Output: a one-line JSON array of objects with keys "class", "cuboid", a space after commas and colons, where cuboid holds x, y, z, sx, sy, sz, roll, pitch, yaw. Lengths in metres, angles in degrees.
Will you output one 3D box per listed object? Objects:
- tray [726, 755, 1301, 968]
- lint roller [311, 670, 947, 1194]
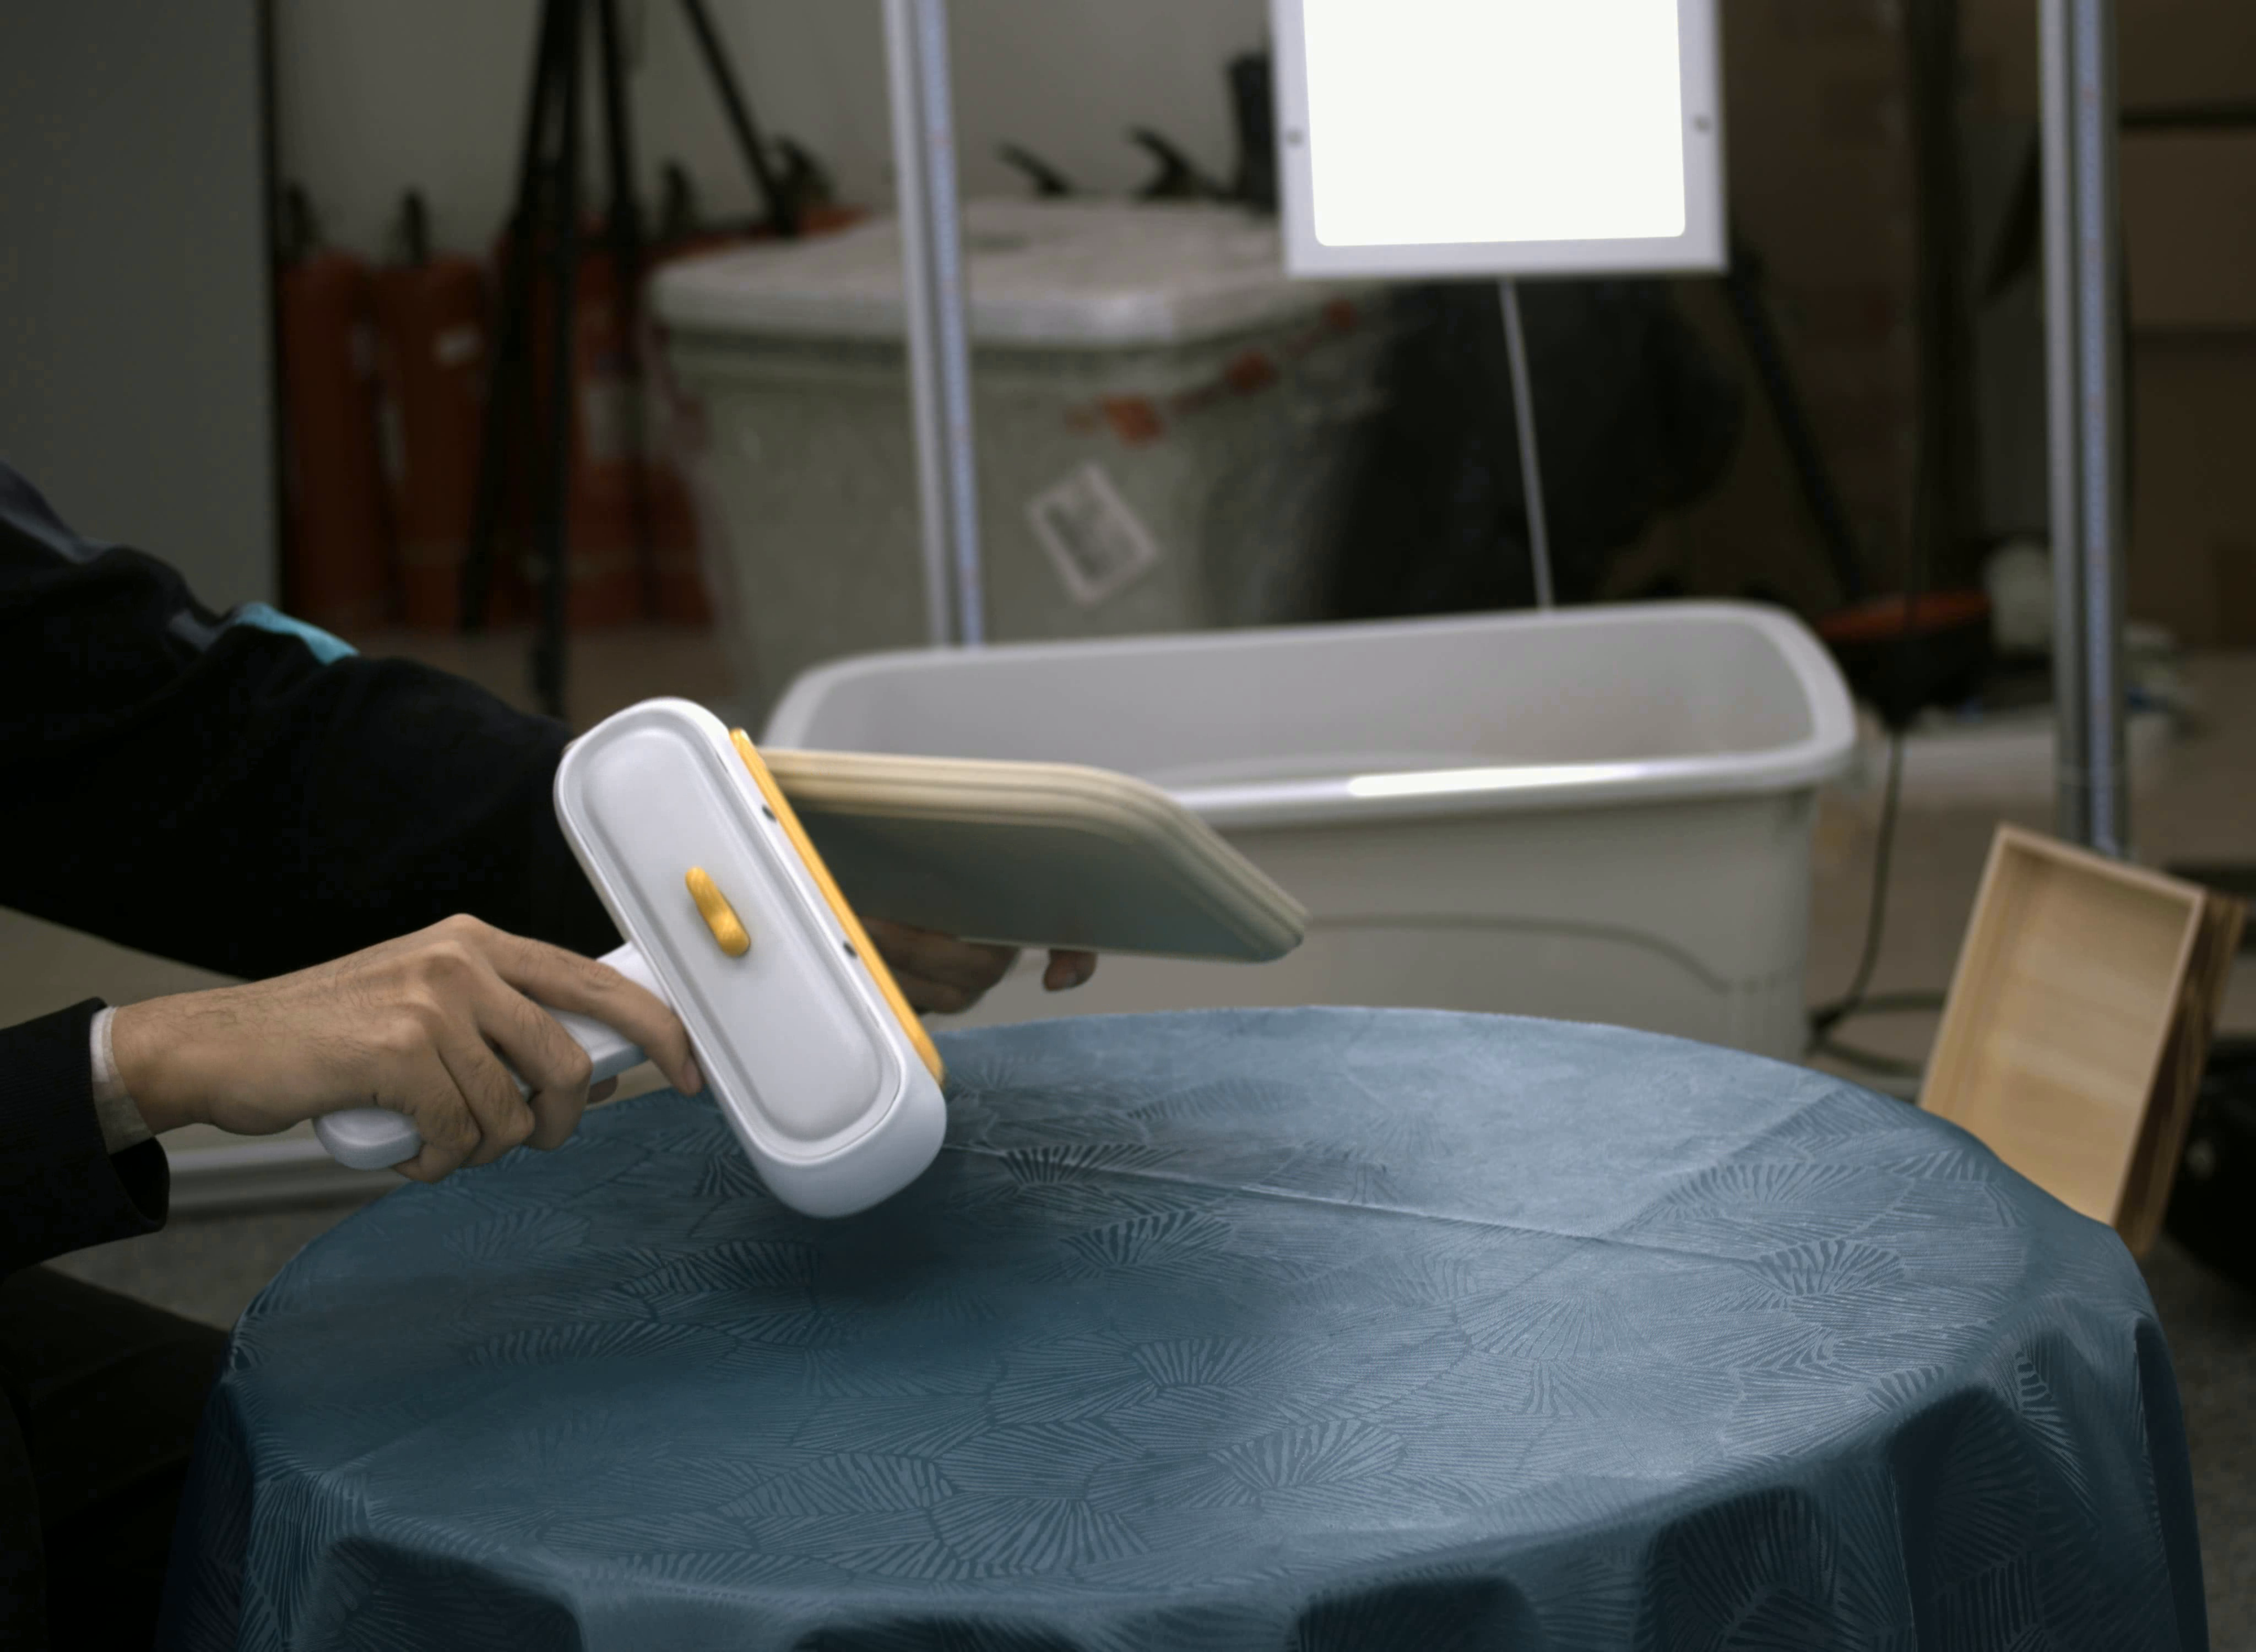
[{"class": "tray", "cuboid": [-0.071, 0.013, 1.913, 0.244, 0.017, 0.168, 3, -19, 30]}, {"class": "lint roller", "cuboid": [-0.178, 0.060, 1.800, 0.191, 0.194, 0.074, -32, -19, -9]}]
